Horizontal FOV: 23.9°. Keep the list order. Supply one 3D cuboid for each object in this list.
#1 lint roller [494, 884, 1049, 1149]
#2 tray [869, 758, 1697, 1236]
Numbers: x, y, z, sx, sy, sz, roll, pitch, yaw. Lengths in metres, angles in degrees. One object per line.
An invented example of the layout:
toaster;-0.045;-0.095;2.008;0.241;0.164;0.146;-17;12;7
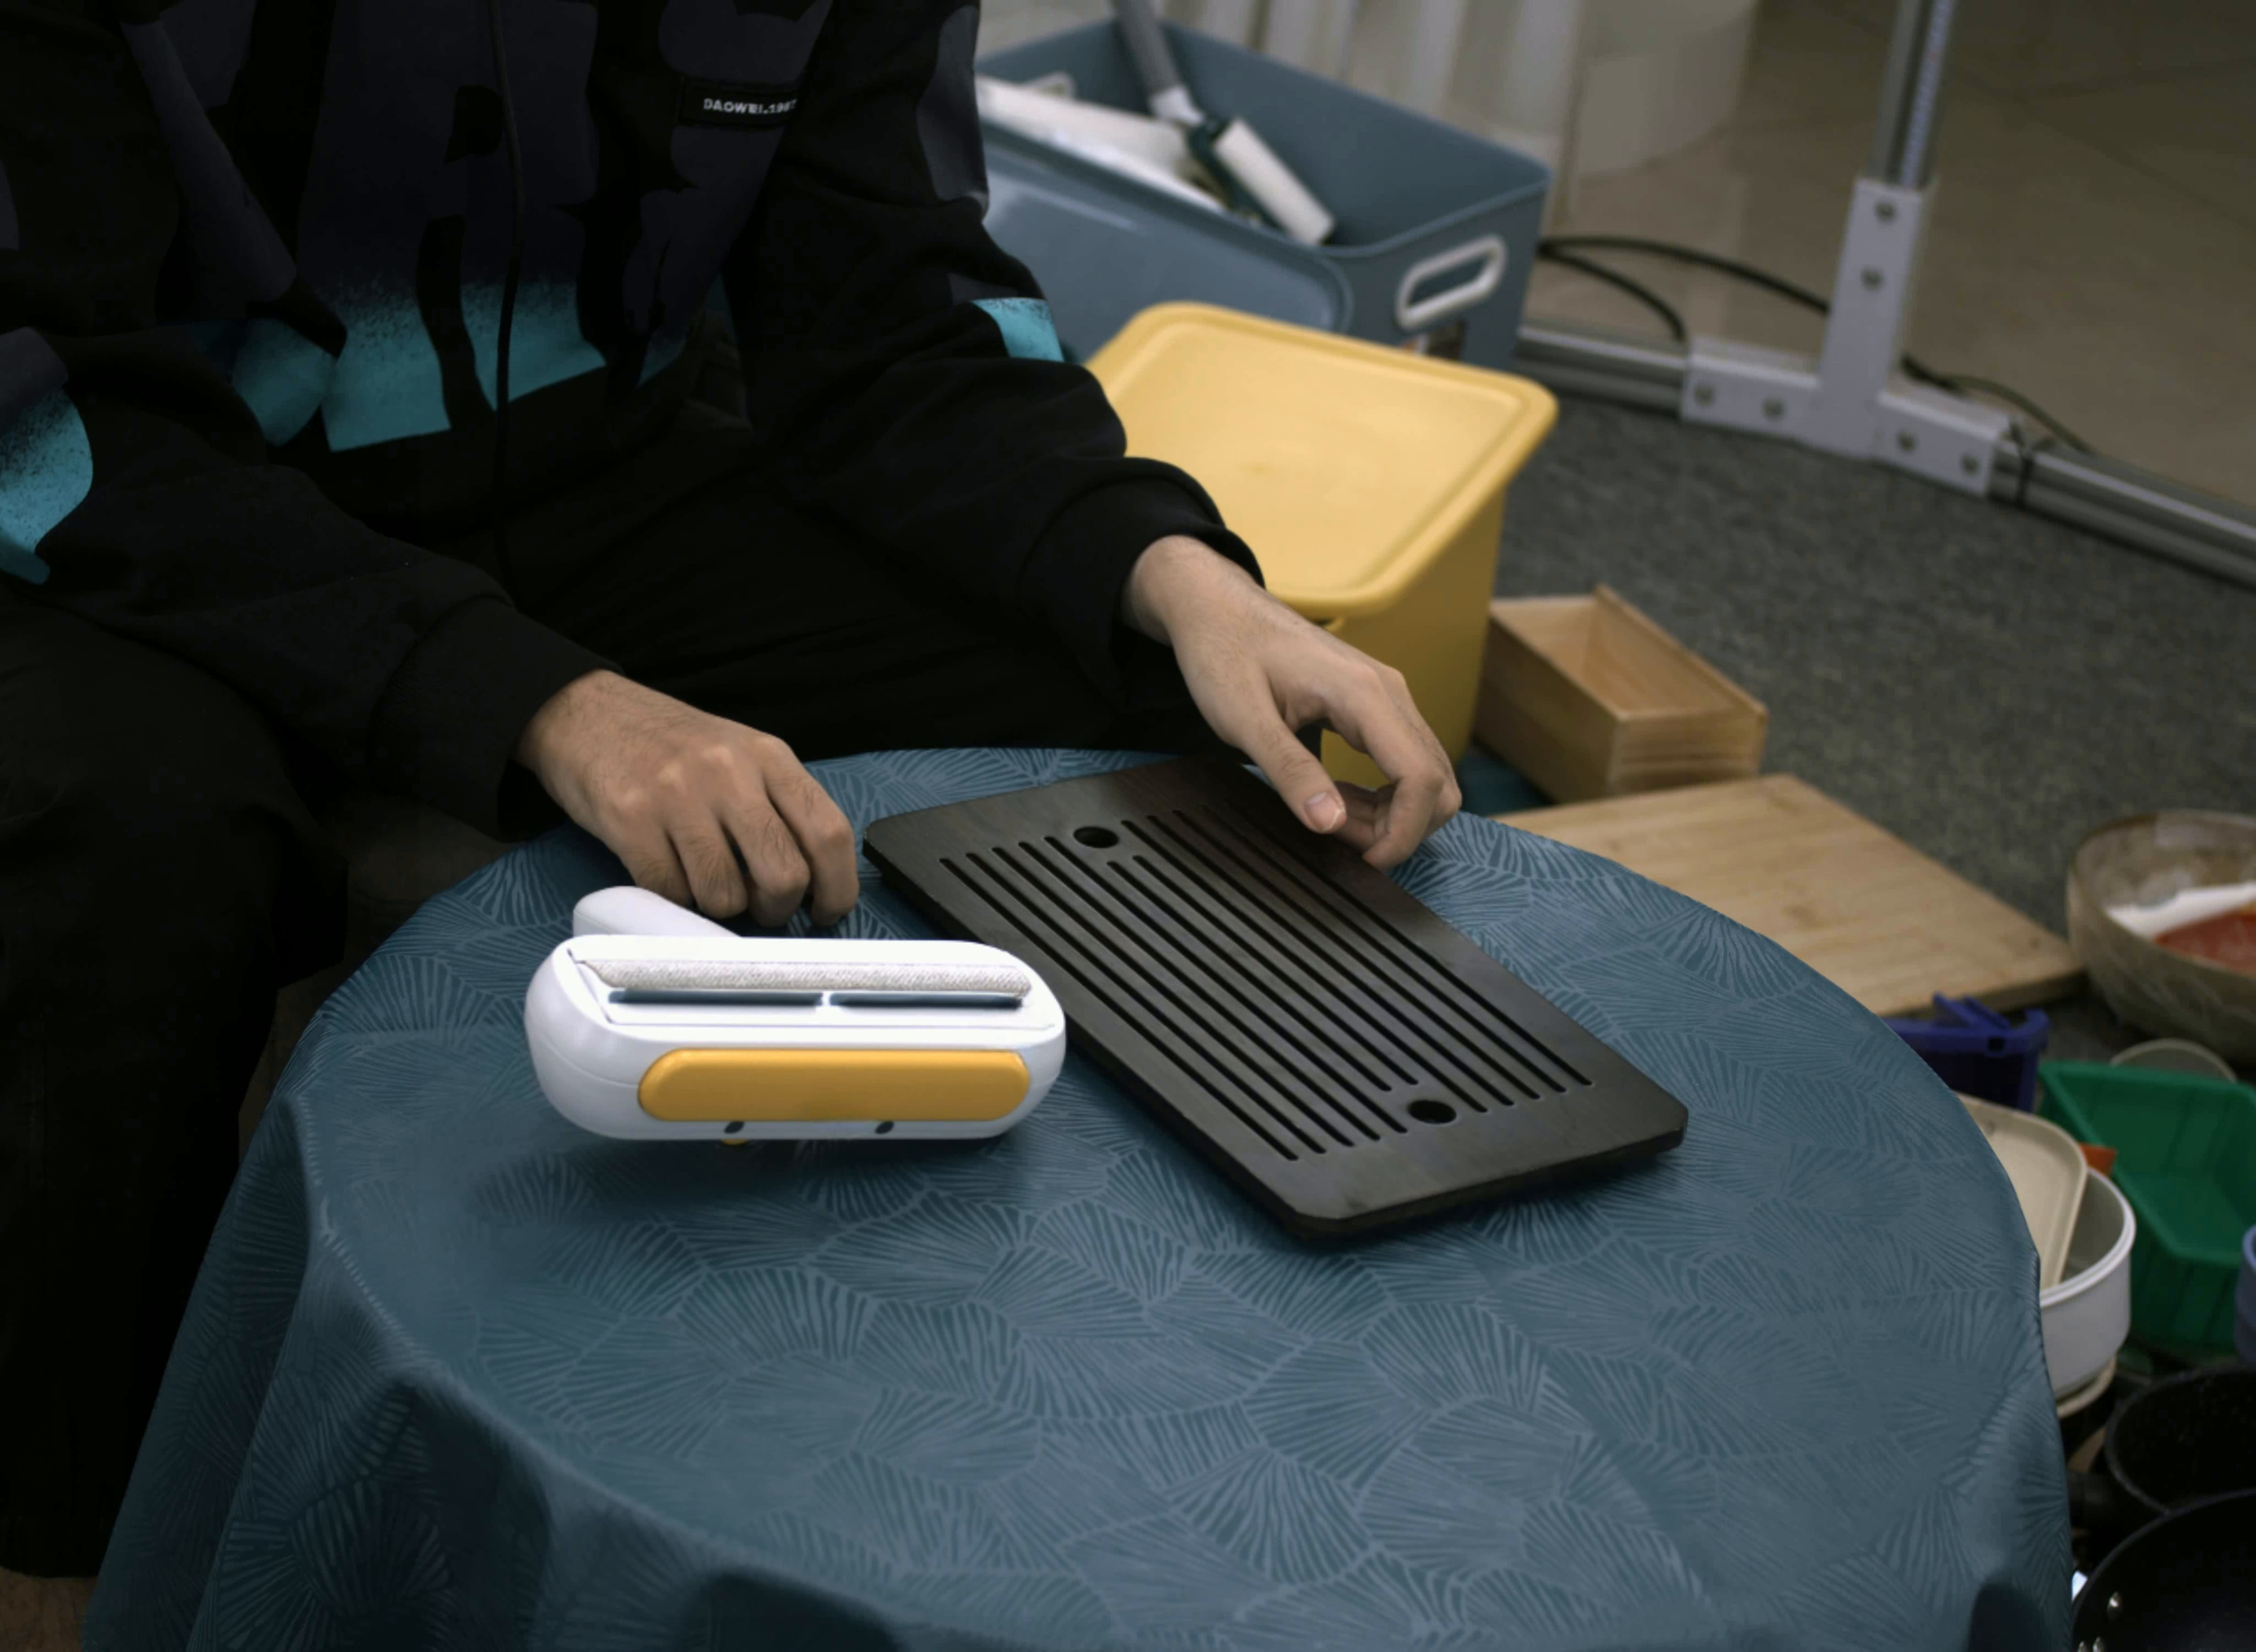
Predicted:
lint roller;-0.142;0.053;1.832;0.191;0.074;0.194;-1;25;-26
tray;0.050;0.058;1.919;0.169;0.018;0.308;-12;32;-31
